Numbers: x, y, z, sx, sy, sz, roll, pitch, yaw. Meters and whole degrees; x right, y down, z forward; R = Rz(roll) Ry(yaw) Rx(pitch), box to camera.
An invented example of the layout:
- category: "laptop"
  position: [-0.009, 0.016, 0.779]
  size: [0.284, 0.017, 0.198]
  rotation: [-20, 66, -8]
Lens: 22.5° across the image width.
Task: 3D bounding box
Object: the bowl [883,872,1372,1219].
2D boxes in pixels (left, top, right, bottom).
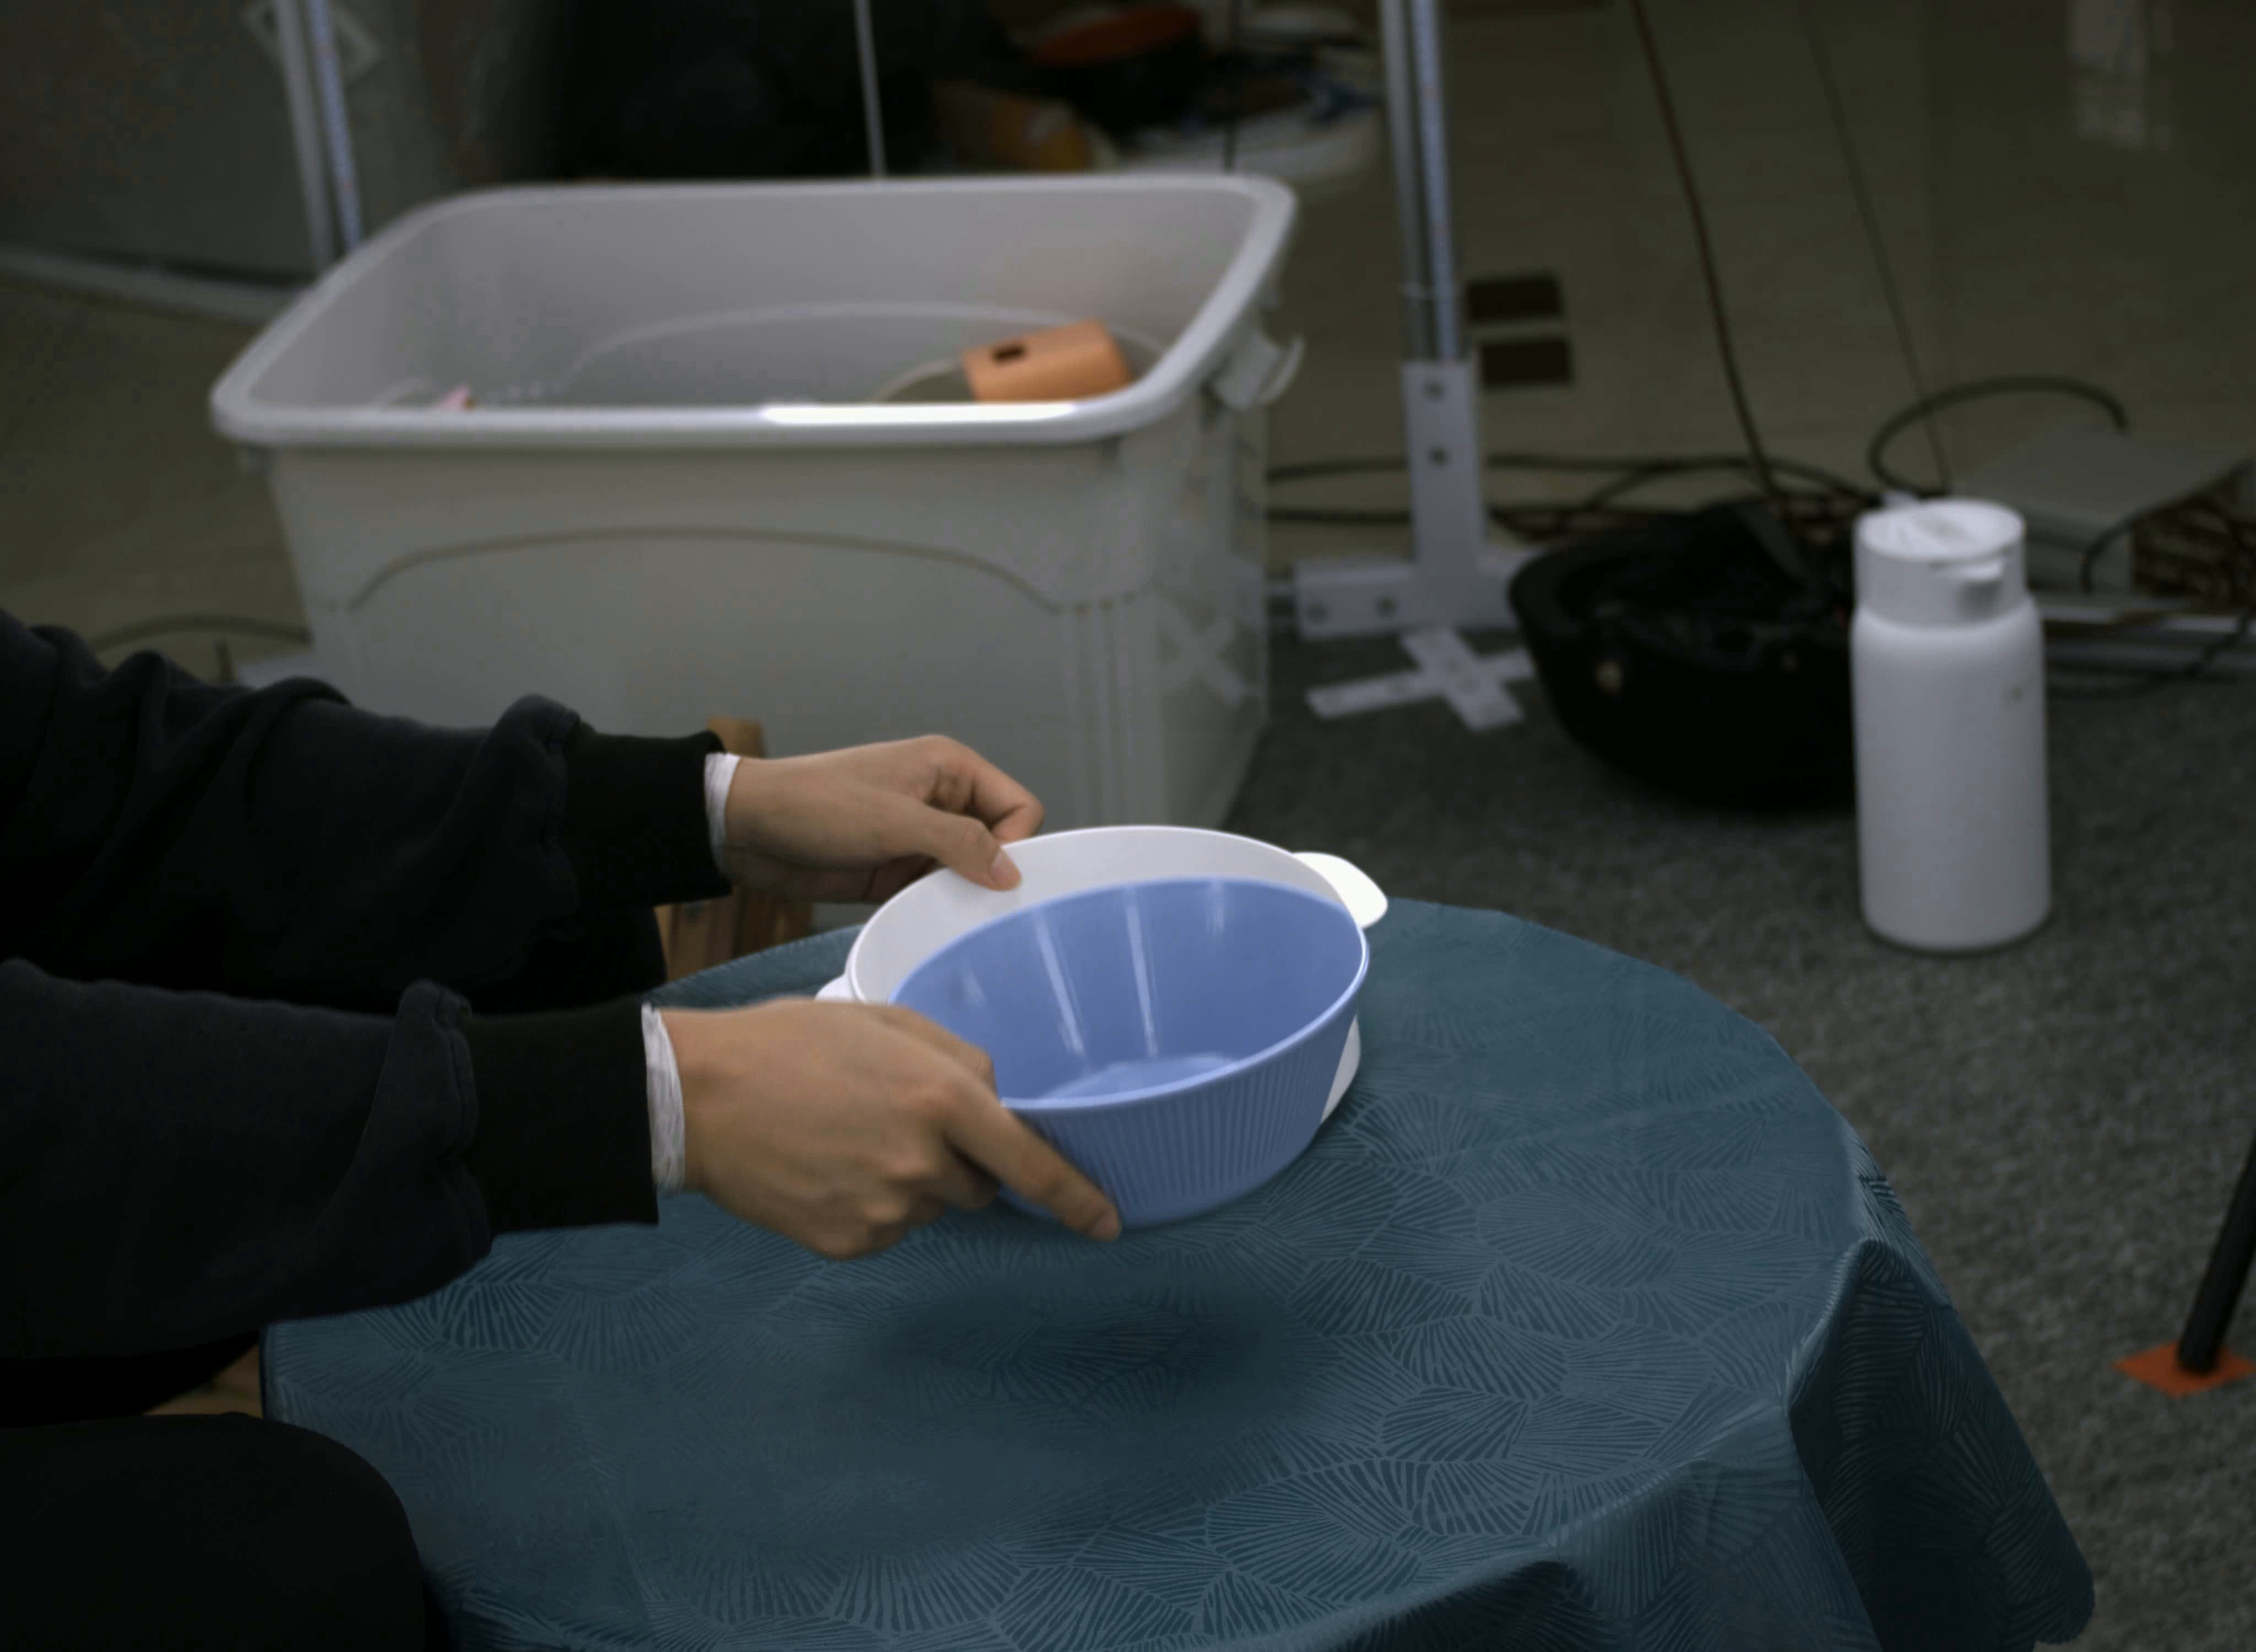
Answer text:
- category: "bowl"
  position: [0.005, 0.083, 2.006]
  size: [0.176, 0.071, 0.173]
  rotation: [-9, 23, 4]

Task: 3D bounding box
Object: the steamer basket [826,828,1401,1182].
- category: "steamer basket"
  position: [-0.003, 0.073, 2.207]
  size: [0.230, 0.070, 0.199]
  rotation: [-13, 28, -20]
